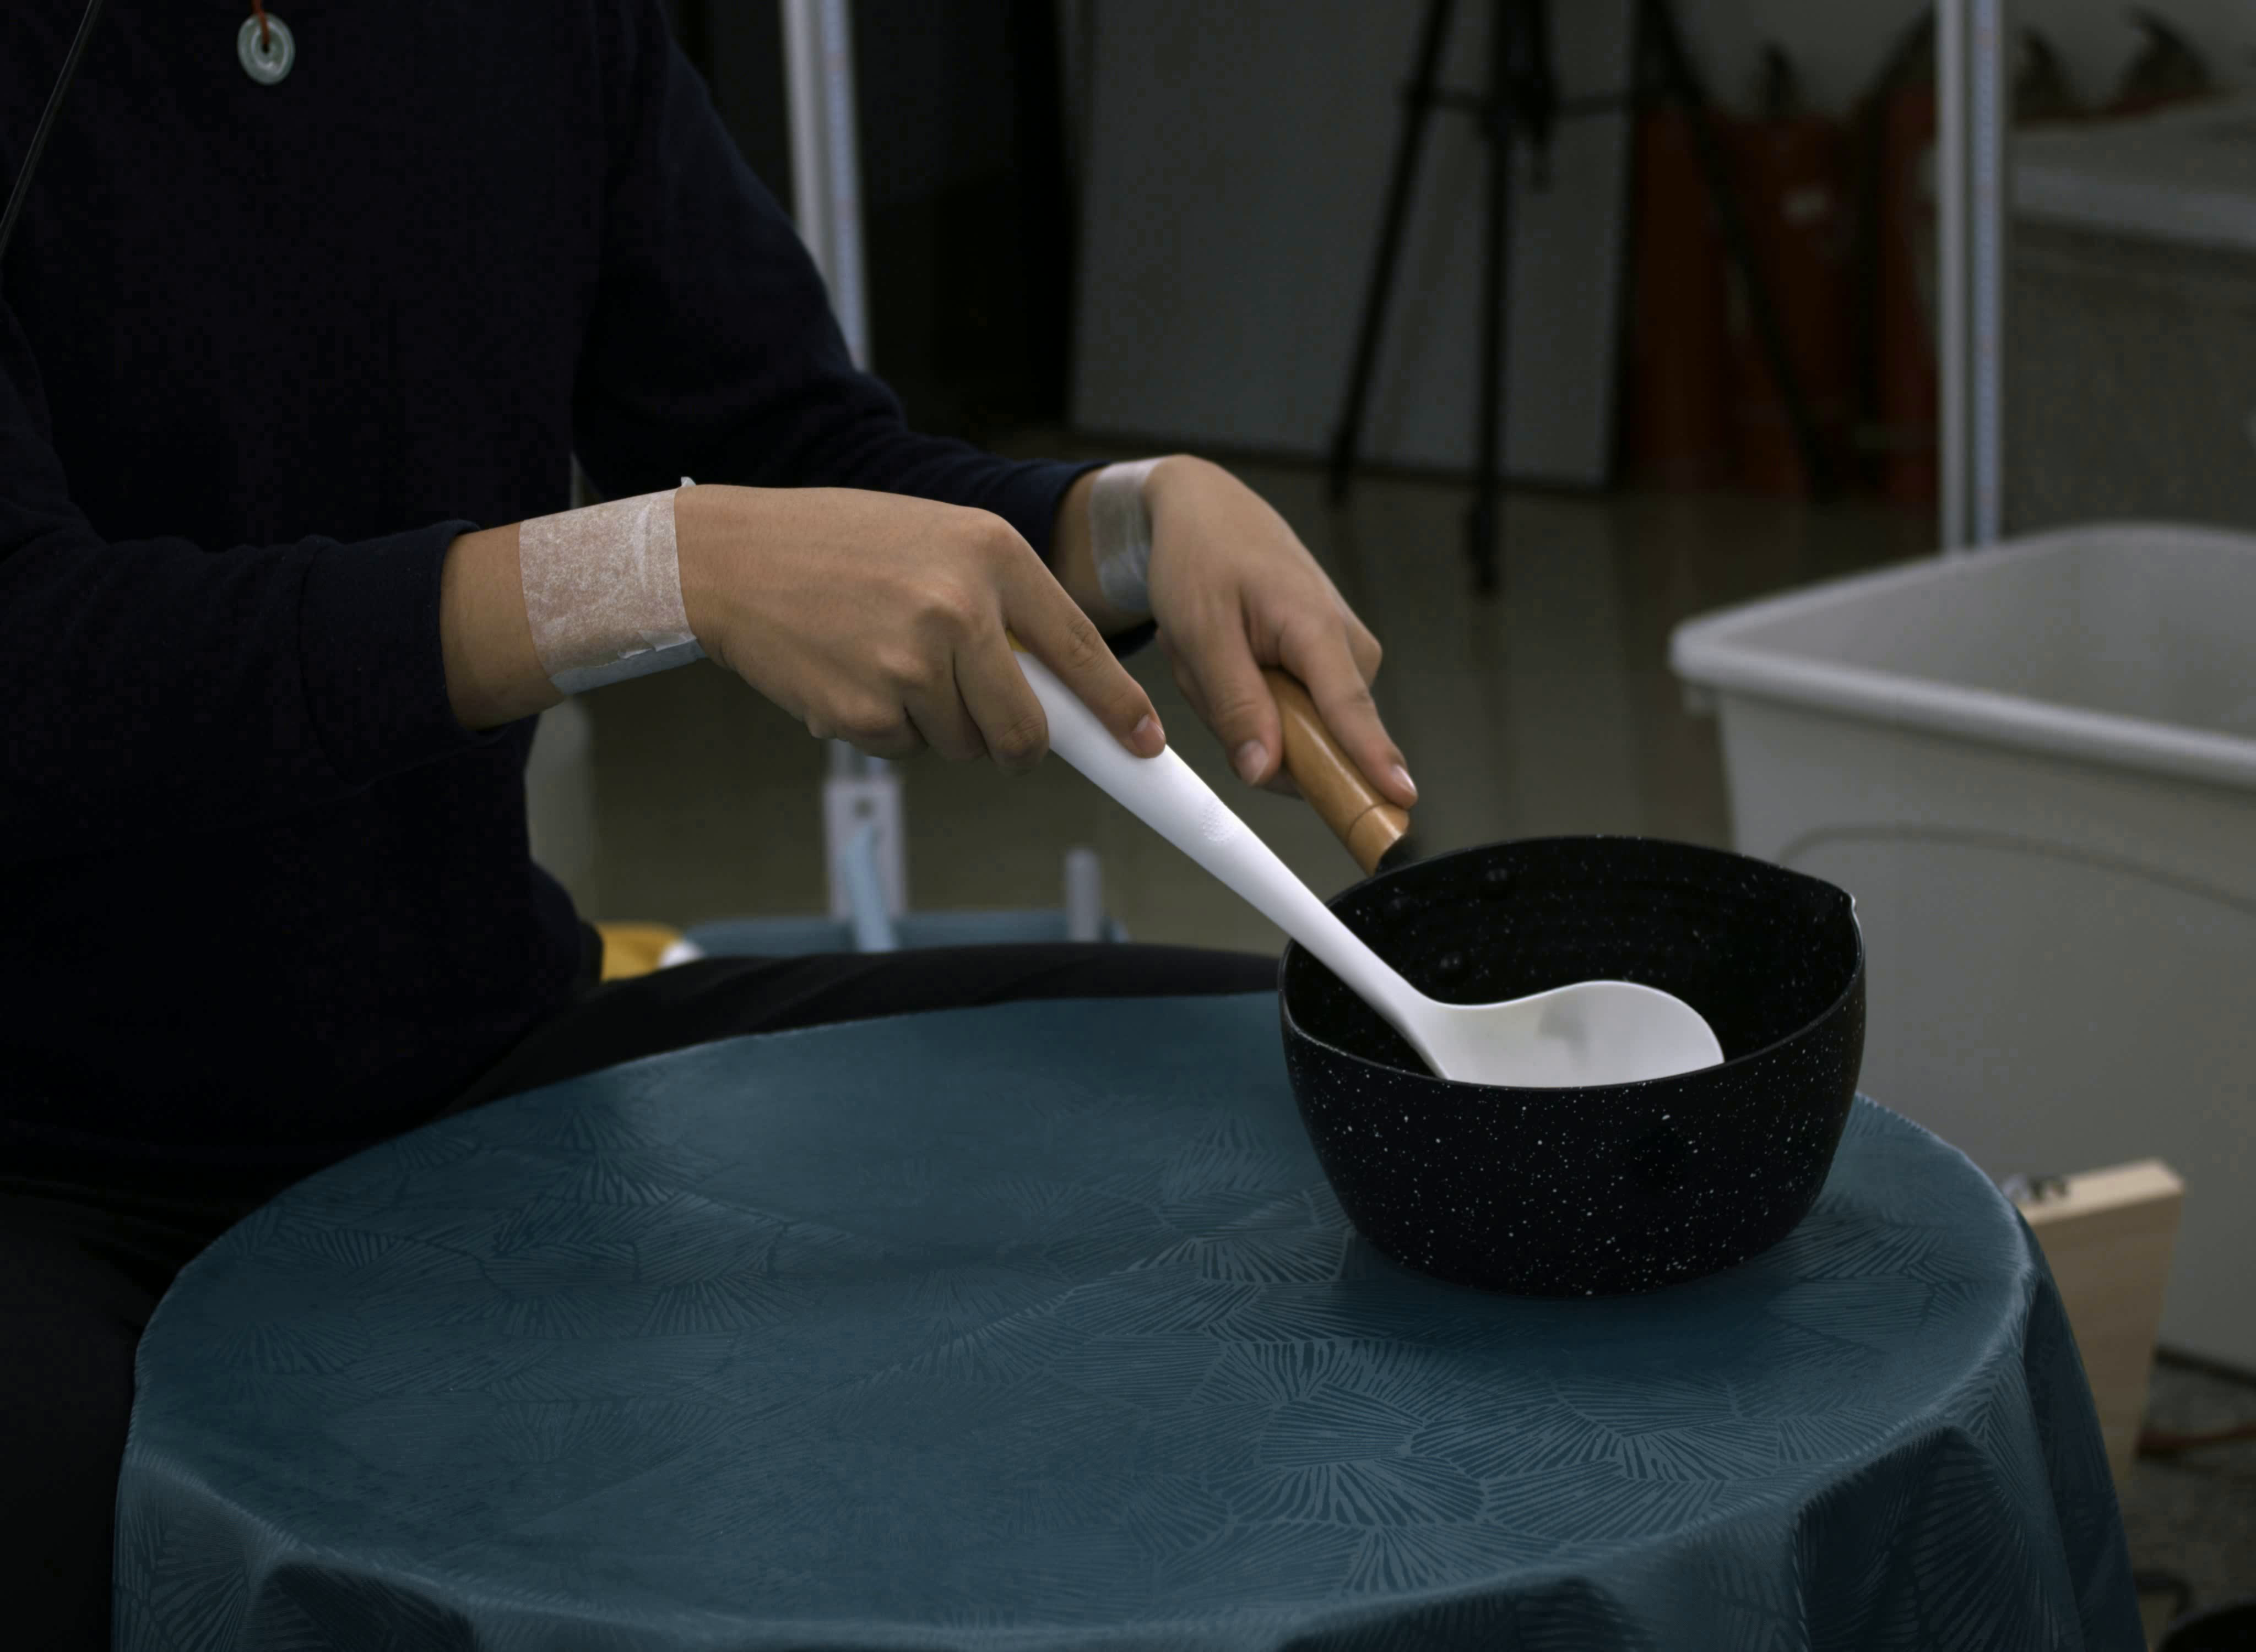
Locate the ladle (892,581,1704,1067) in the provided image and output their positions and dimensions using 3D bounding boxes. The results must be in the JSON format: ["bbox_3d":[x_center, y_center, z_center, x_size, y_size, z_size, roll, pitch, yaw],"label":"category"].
[{"bbox_3d":[0.054,0.021,1.673,0.090,0.291,0.070,-56,13,-27],"label":"ladle"}]

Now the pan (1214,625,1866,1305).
[{"bbox_3d":[0.107,0.039,1.753,0.203,0.109,0.346,-15,26,-19],"label":"pan"}]
